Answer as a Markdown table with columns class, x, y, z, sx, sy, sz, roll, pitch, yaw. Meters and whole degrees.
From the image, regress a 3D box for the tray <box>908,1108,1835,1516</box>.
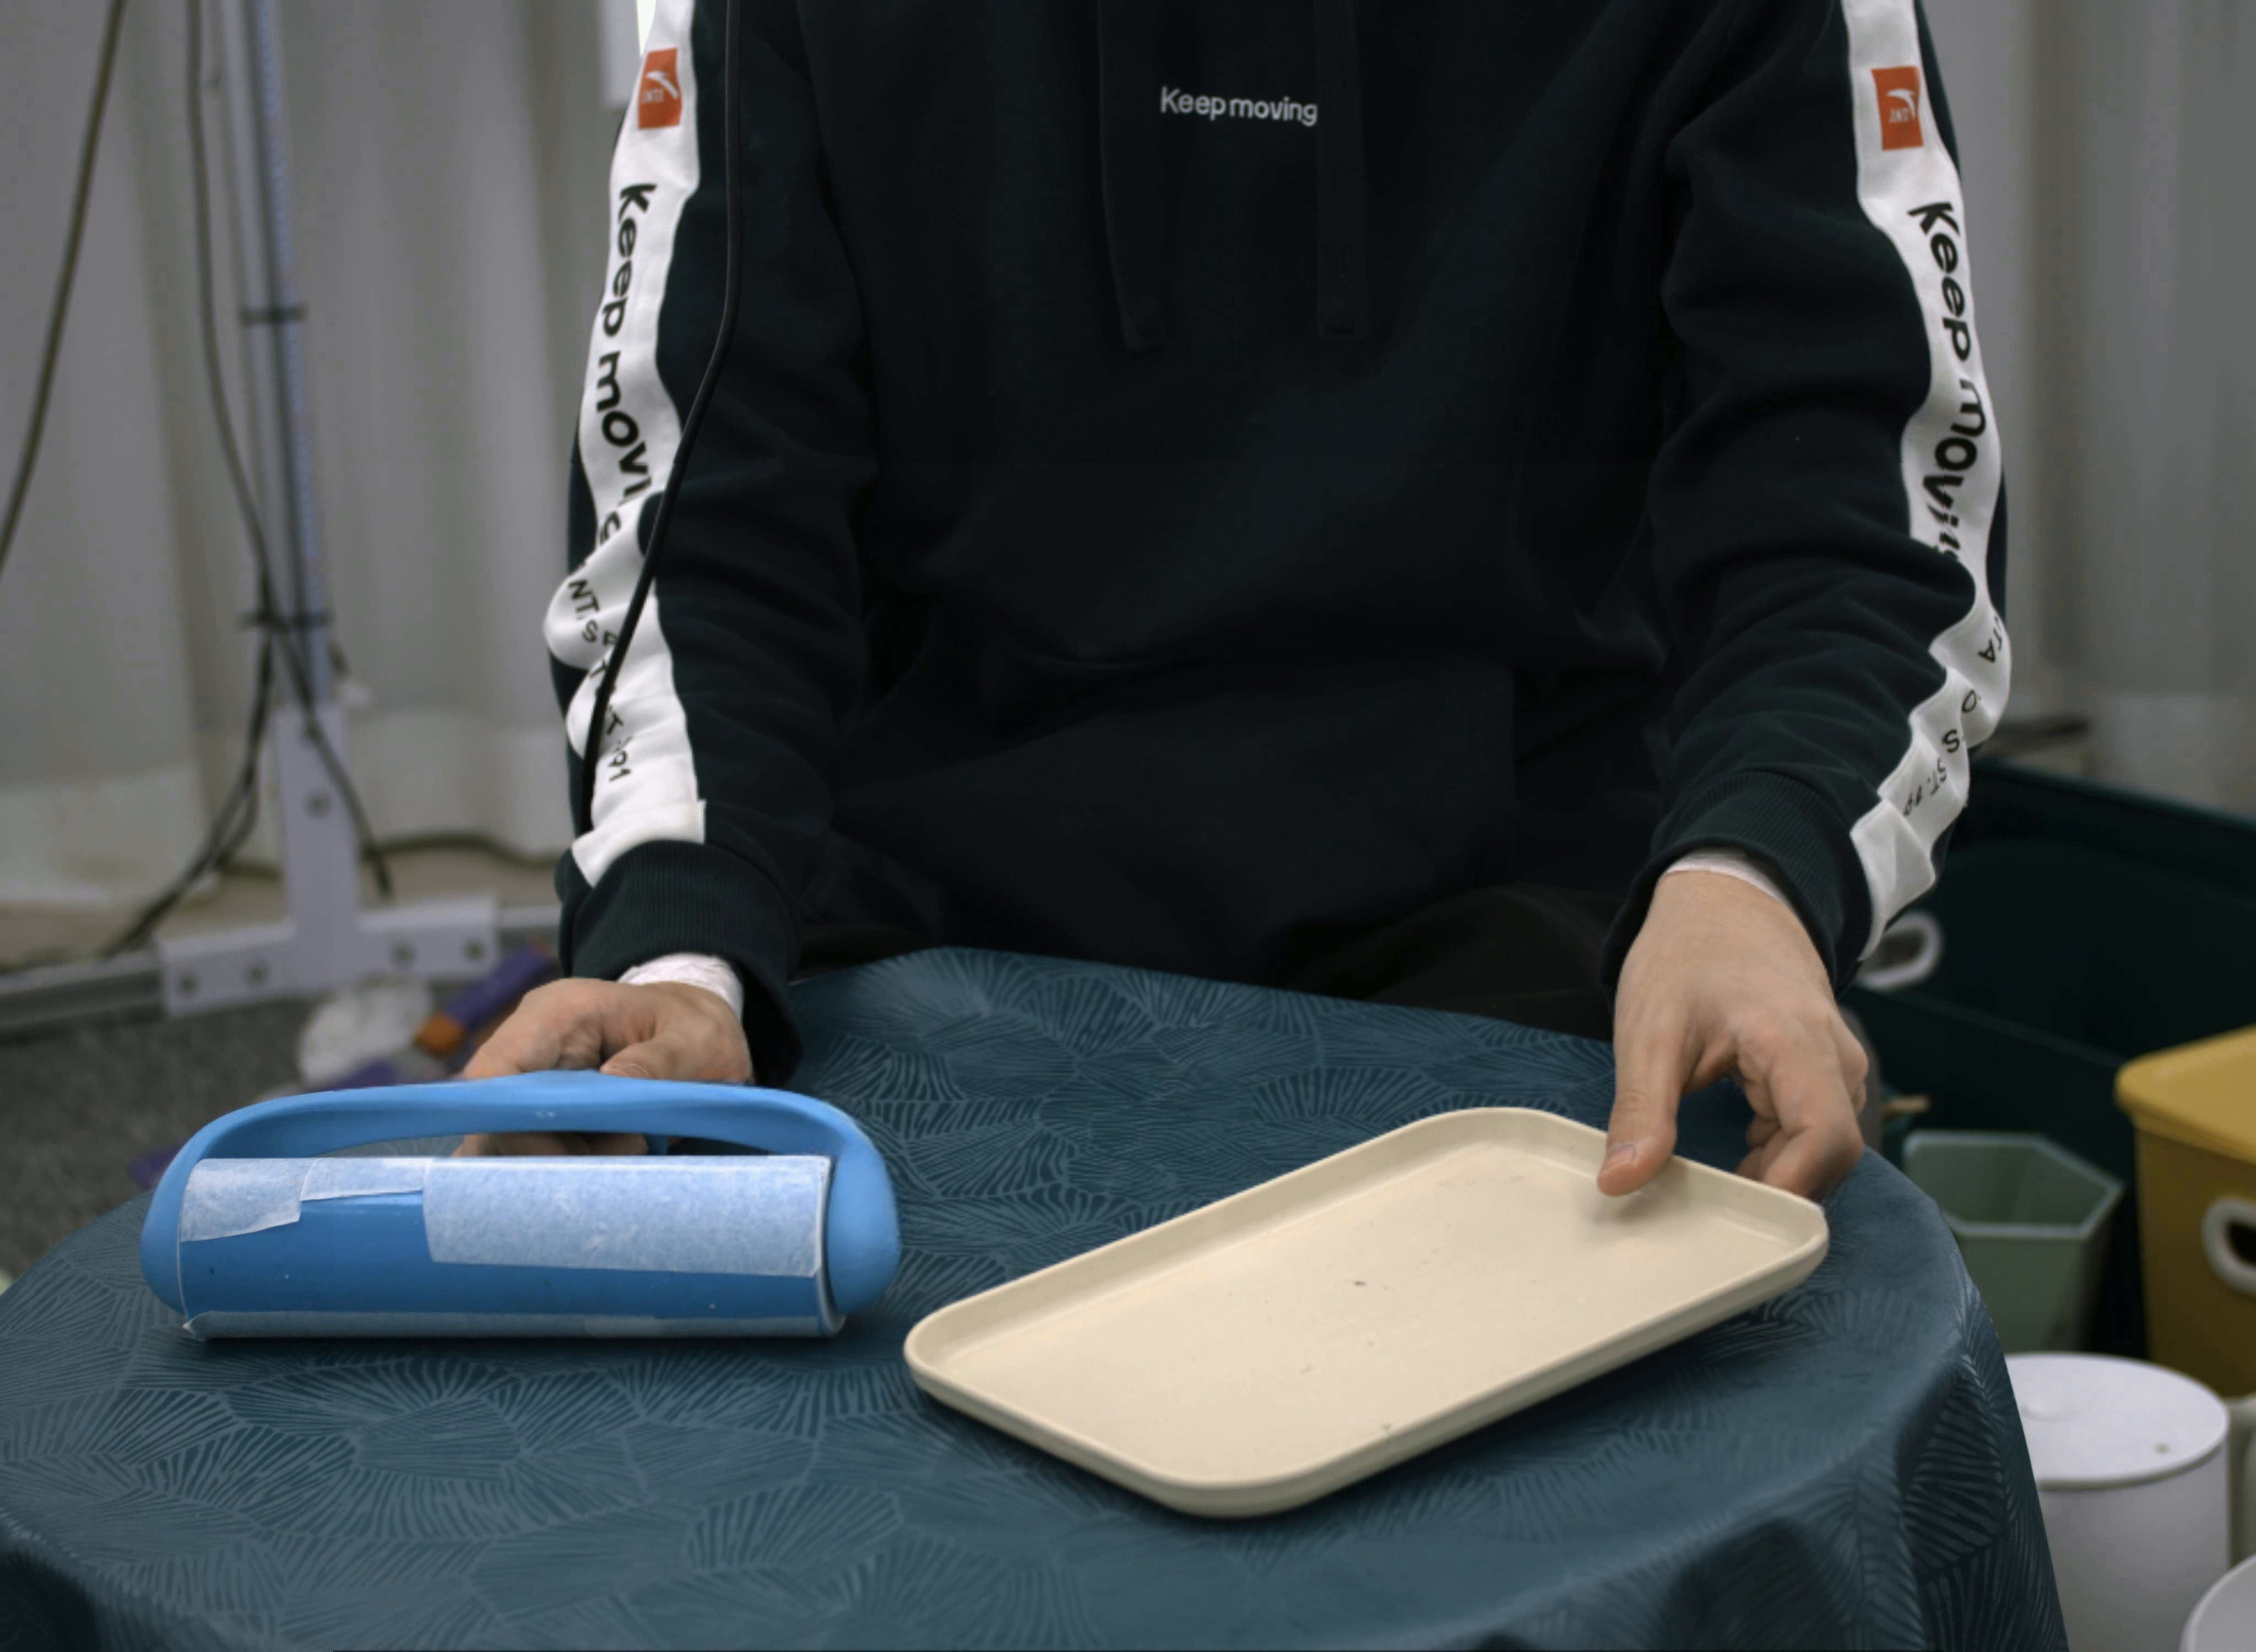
| class | x | y | z | sx | sy | sz | roll | pitch | yaw |
| --- | --- | --- | --- | --- | --- | --- | --- | --- | --- |
| tray | 0.070 | 0.136 | 1.553 | 0.239 | 0.017 | 0.172 | -19 | 20 | -33 |

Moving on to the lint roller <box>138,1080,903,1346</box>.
| class | x | y | z | sx | sy | sz | roll | pitch | yaw |
| --- | --- | --- | --- | --- | --- | --- | --- | --- | --- |
| lint roller | -0.174 | 0.108 | 1.666 | 0.228 | 0.067 | 0.181 | -3 | 16 | 6 |
